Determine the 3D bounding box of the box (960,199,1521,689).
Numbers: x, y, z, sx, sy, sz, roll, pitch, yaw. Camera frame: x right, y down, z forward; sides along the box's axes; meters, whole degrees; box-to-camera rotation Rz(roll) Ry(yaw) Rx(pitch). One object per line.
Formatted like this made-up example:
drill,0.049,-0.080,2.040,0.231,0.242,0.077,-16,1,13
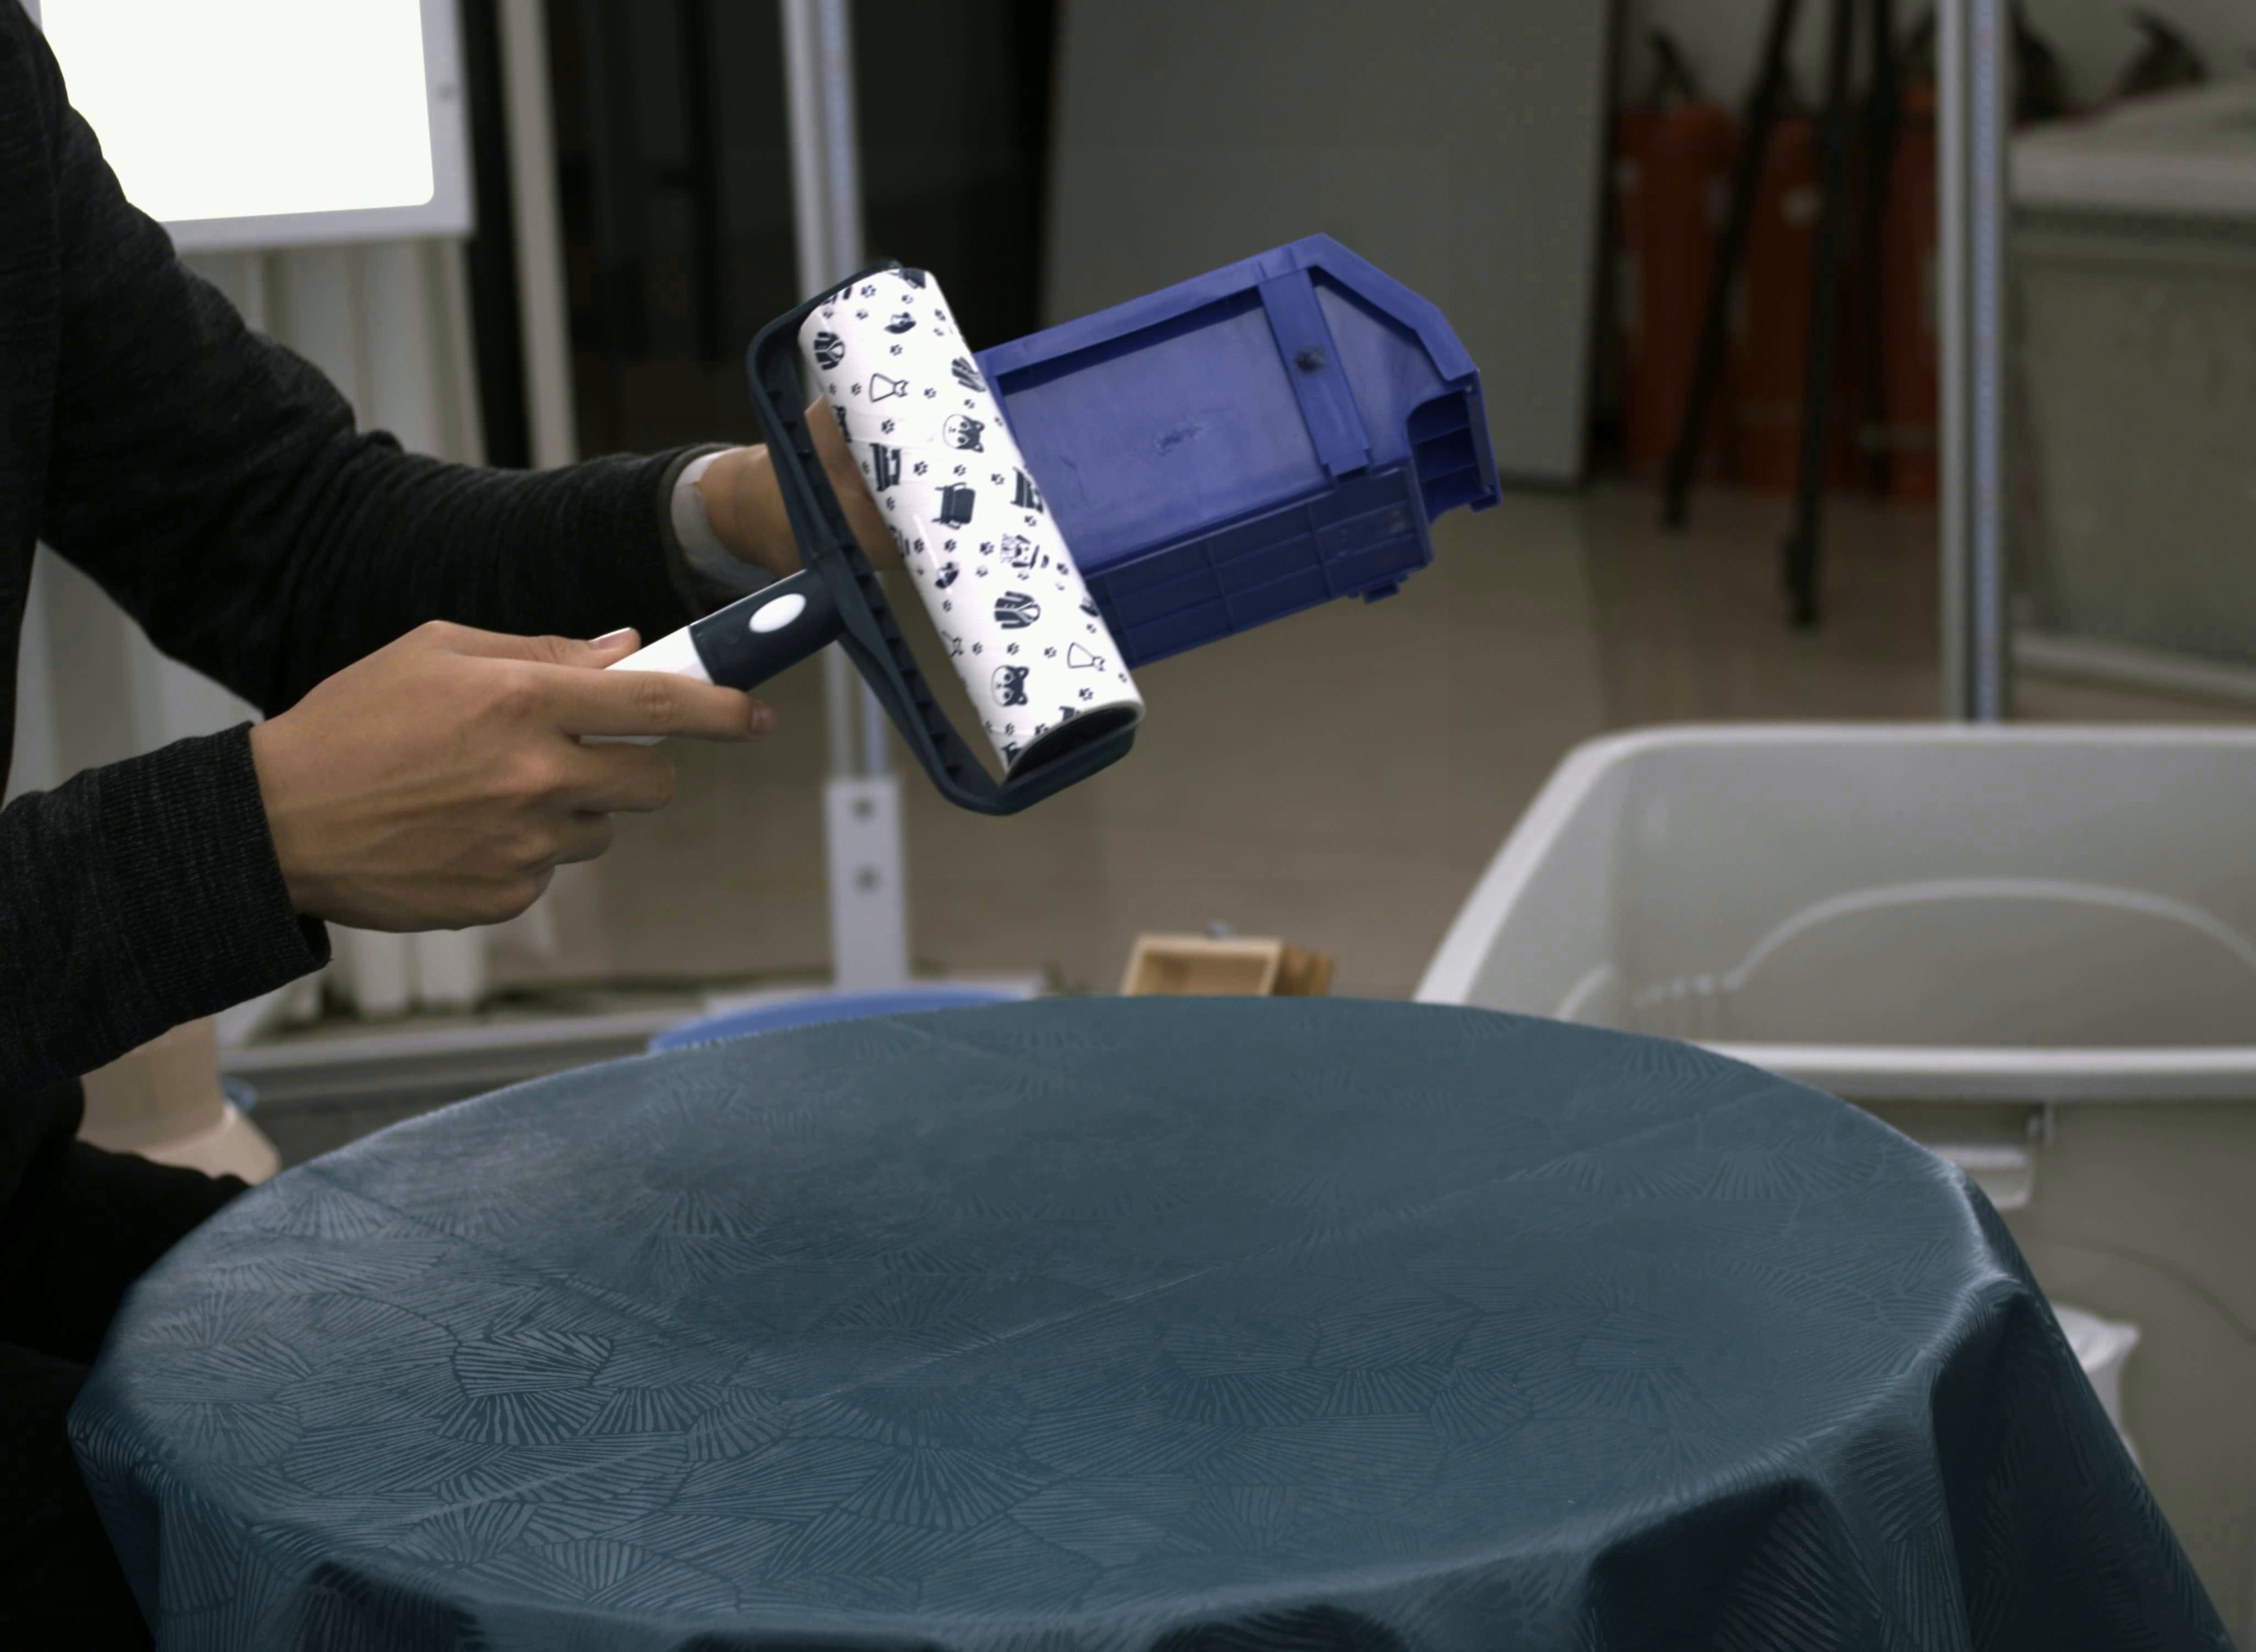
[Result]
box,0.032,-0.120,1.733,0.178,0.083,0.124,-22,-21,3

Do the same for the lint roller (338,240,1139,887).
lint roller,-0.135,-0.049,1.659,0.246,0.178,0.050,-29,-19,5
